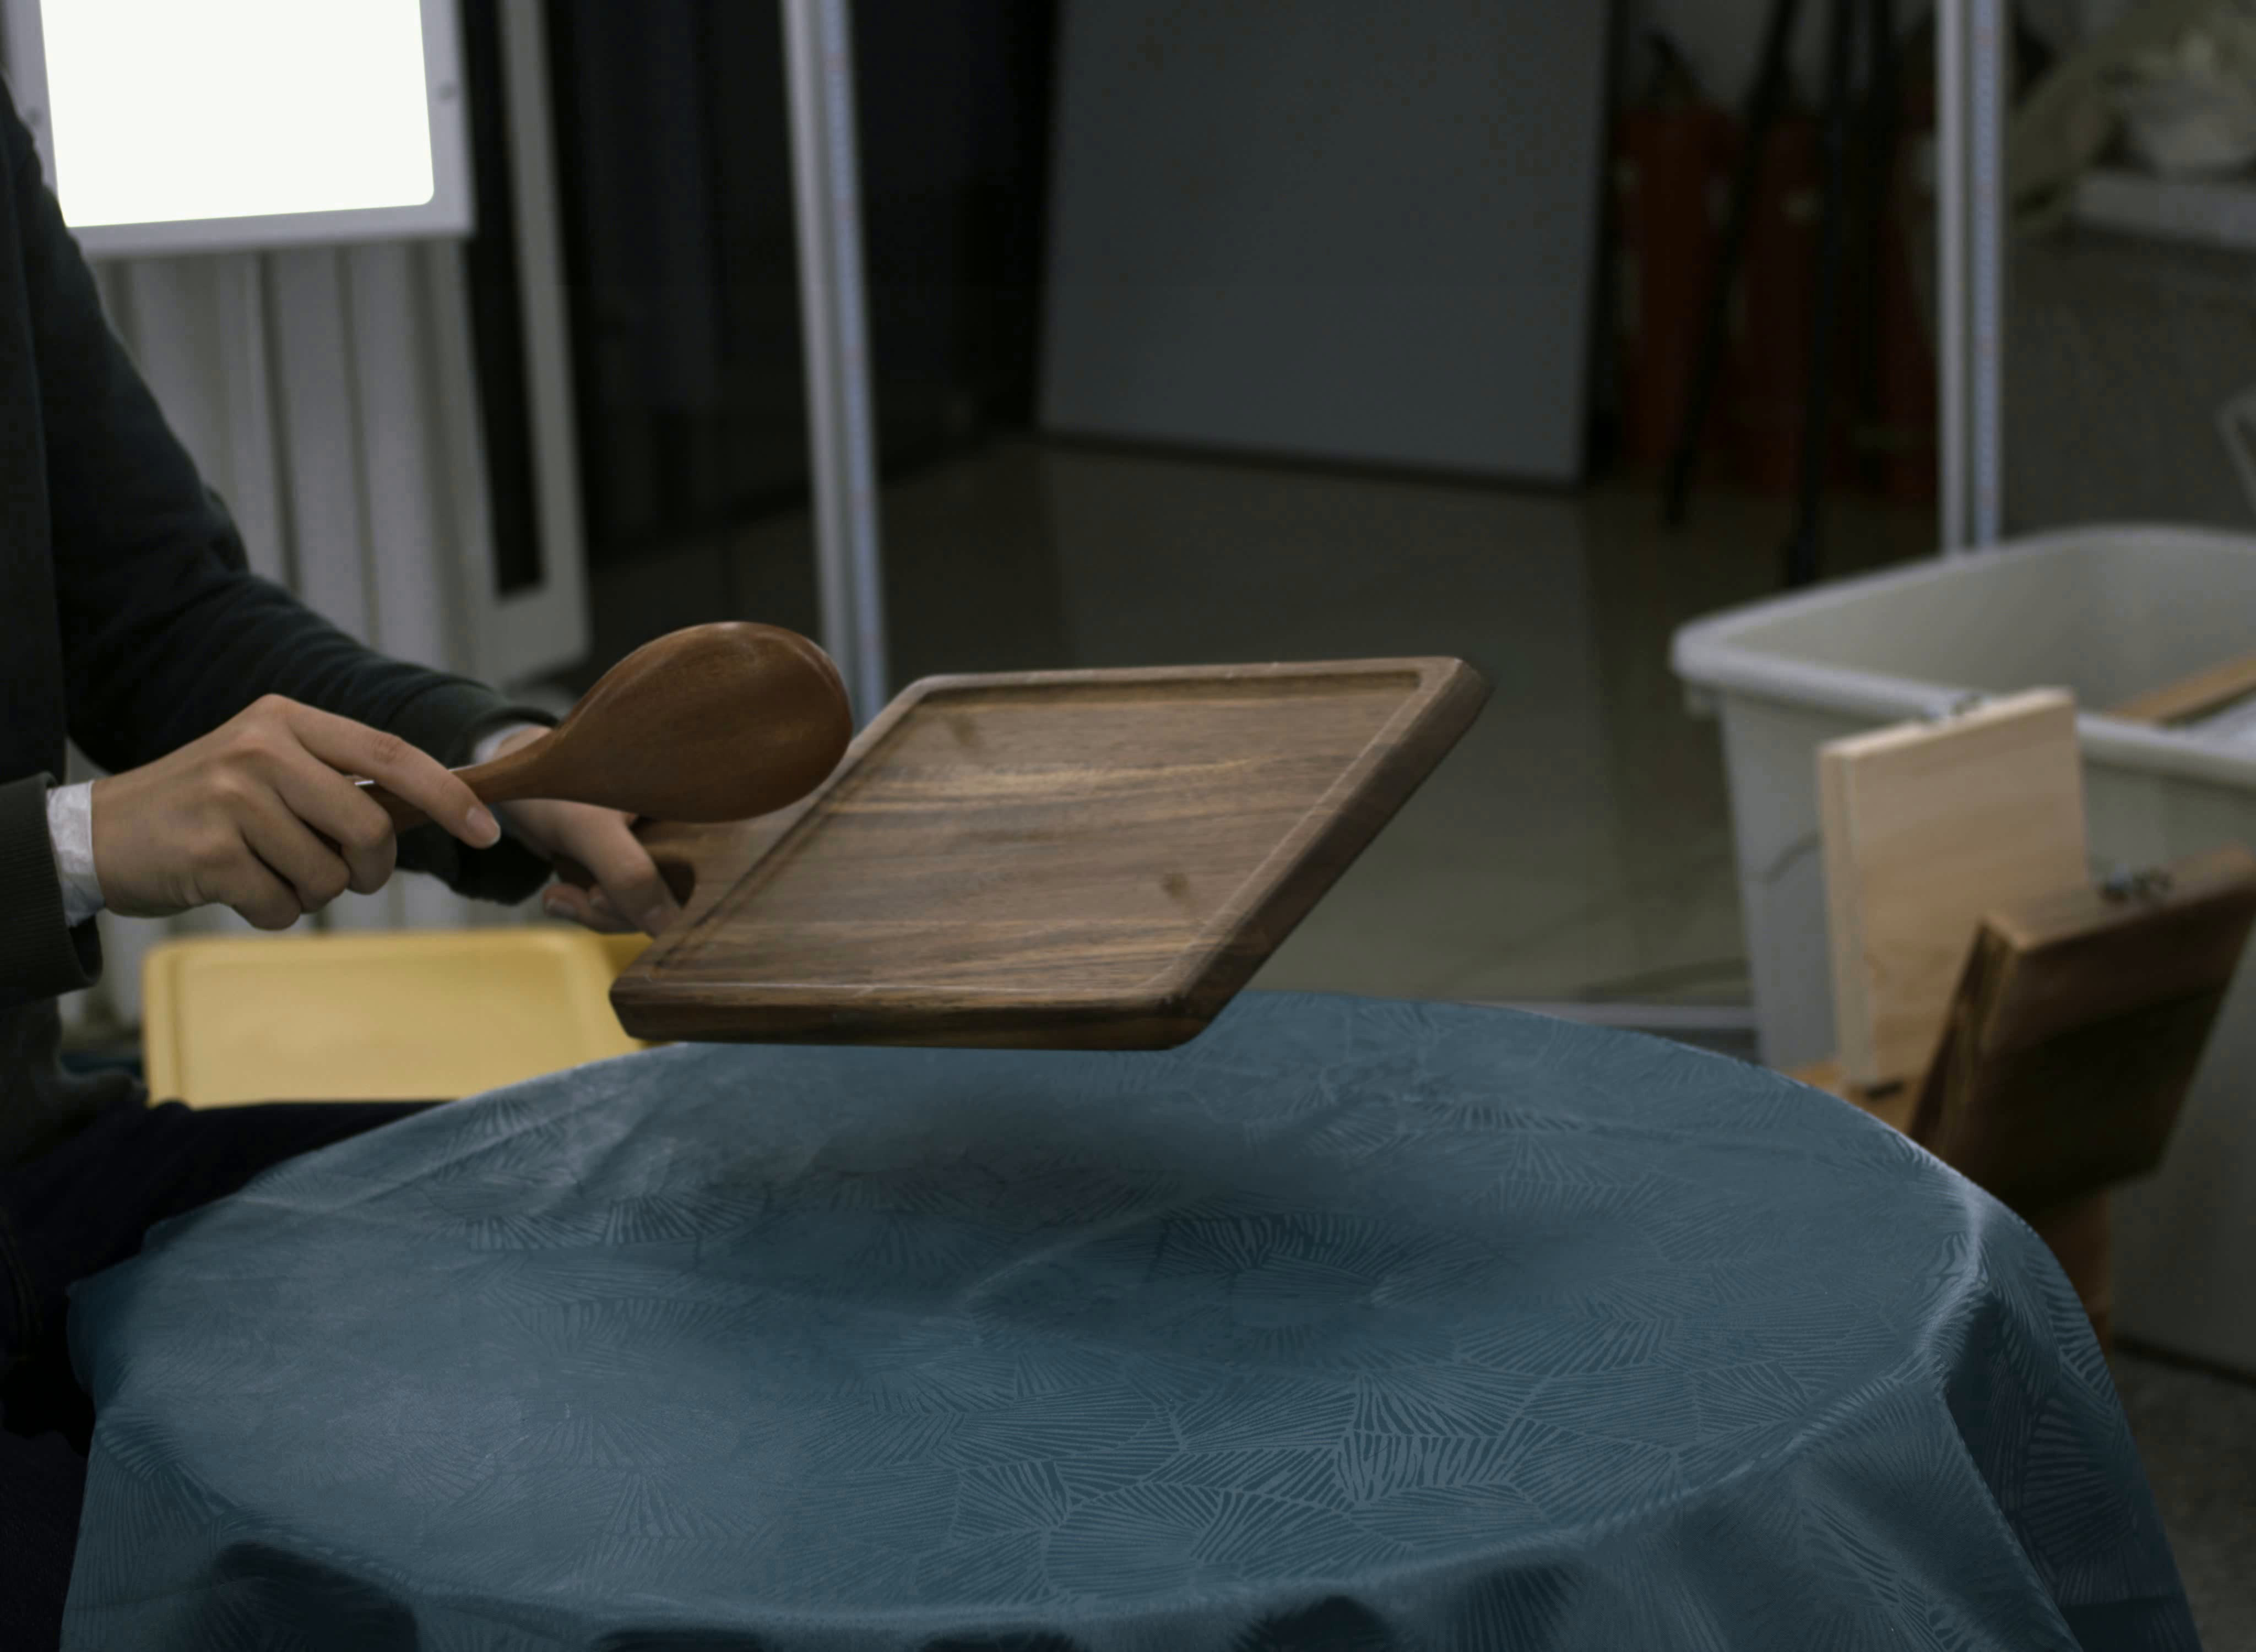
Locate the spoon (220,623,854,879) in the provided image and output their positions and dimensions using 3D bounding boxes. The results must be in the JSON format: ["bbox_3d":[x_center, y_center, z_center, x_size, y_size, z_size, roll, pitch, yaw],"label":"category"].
[{"bbox_3d":[-0.193,-0.017,1.760,0.214,0.075,0.017,-13,36,9],"label":"spoon"}]

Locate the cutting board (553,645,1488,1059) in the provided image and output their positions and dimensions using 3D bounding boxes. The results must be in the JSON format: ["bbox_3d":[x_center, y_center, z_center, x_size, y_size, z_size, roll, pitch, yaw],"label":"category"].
[{"bbox_3d":[-0.063,0.010,1.802,0.355,0.023,0.199,-2,35,42],"label":"cutting board"}]
